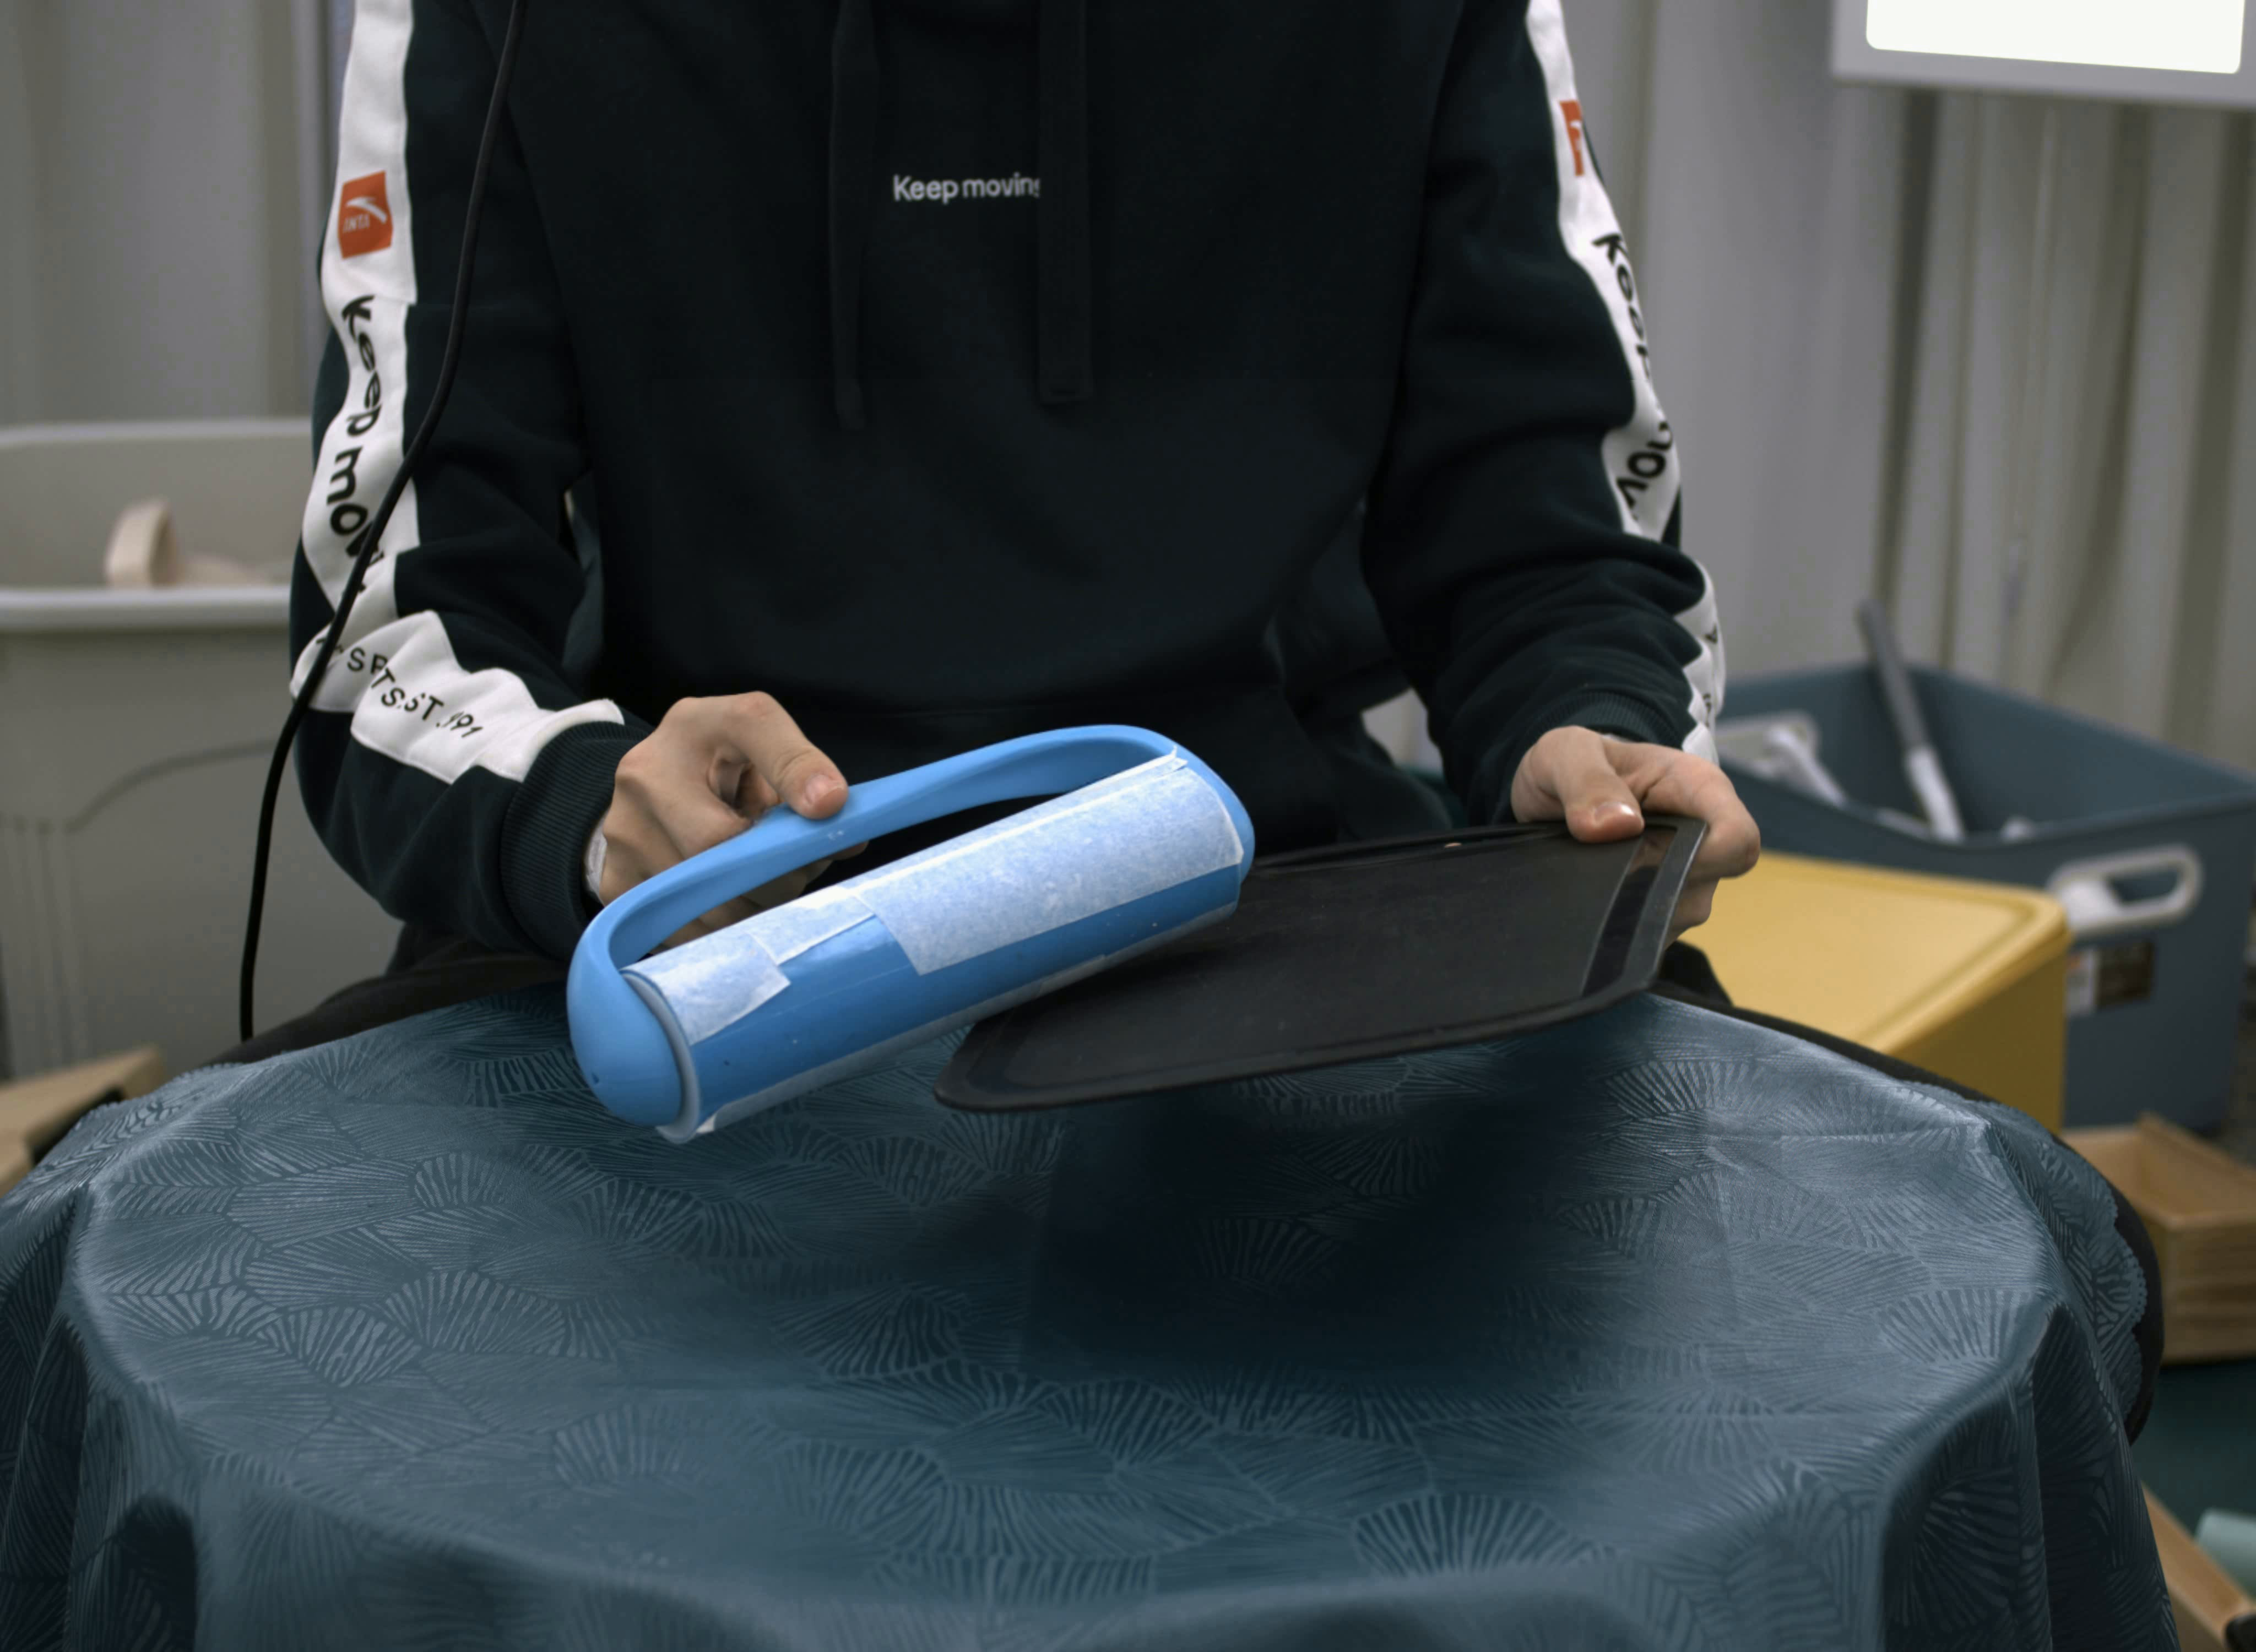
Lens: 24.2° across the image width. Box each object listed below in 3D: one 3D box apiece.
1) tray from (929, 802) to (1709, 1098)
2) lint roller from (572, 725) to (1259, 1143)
[{"bbox_3d":[0.065,0.032,1.589,0.210,0.010,0.325,-8,10,12],"label":"tray"},{"bbox_3d":[-0.092,0.023,1.591,0.229,0.068,0.178,-24,24,-31],"label":"lint roller"}]
